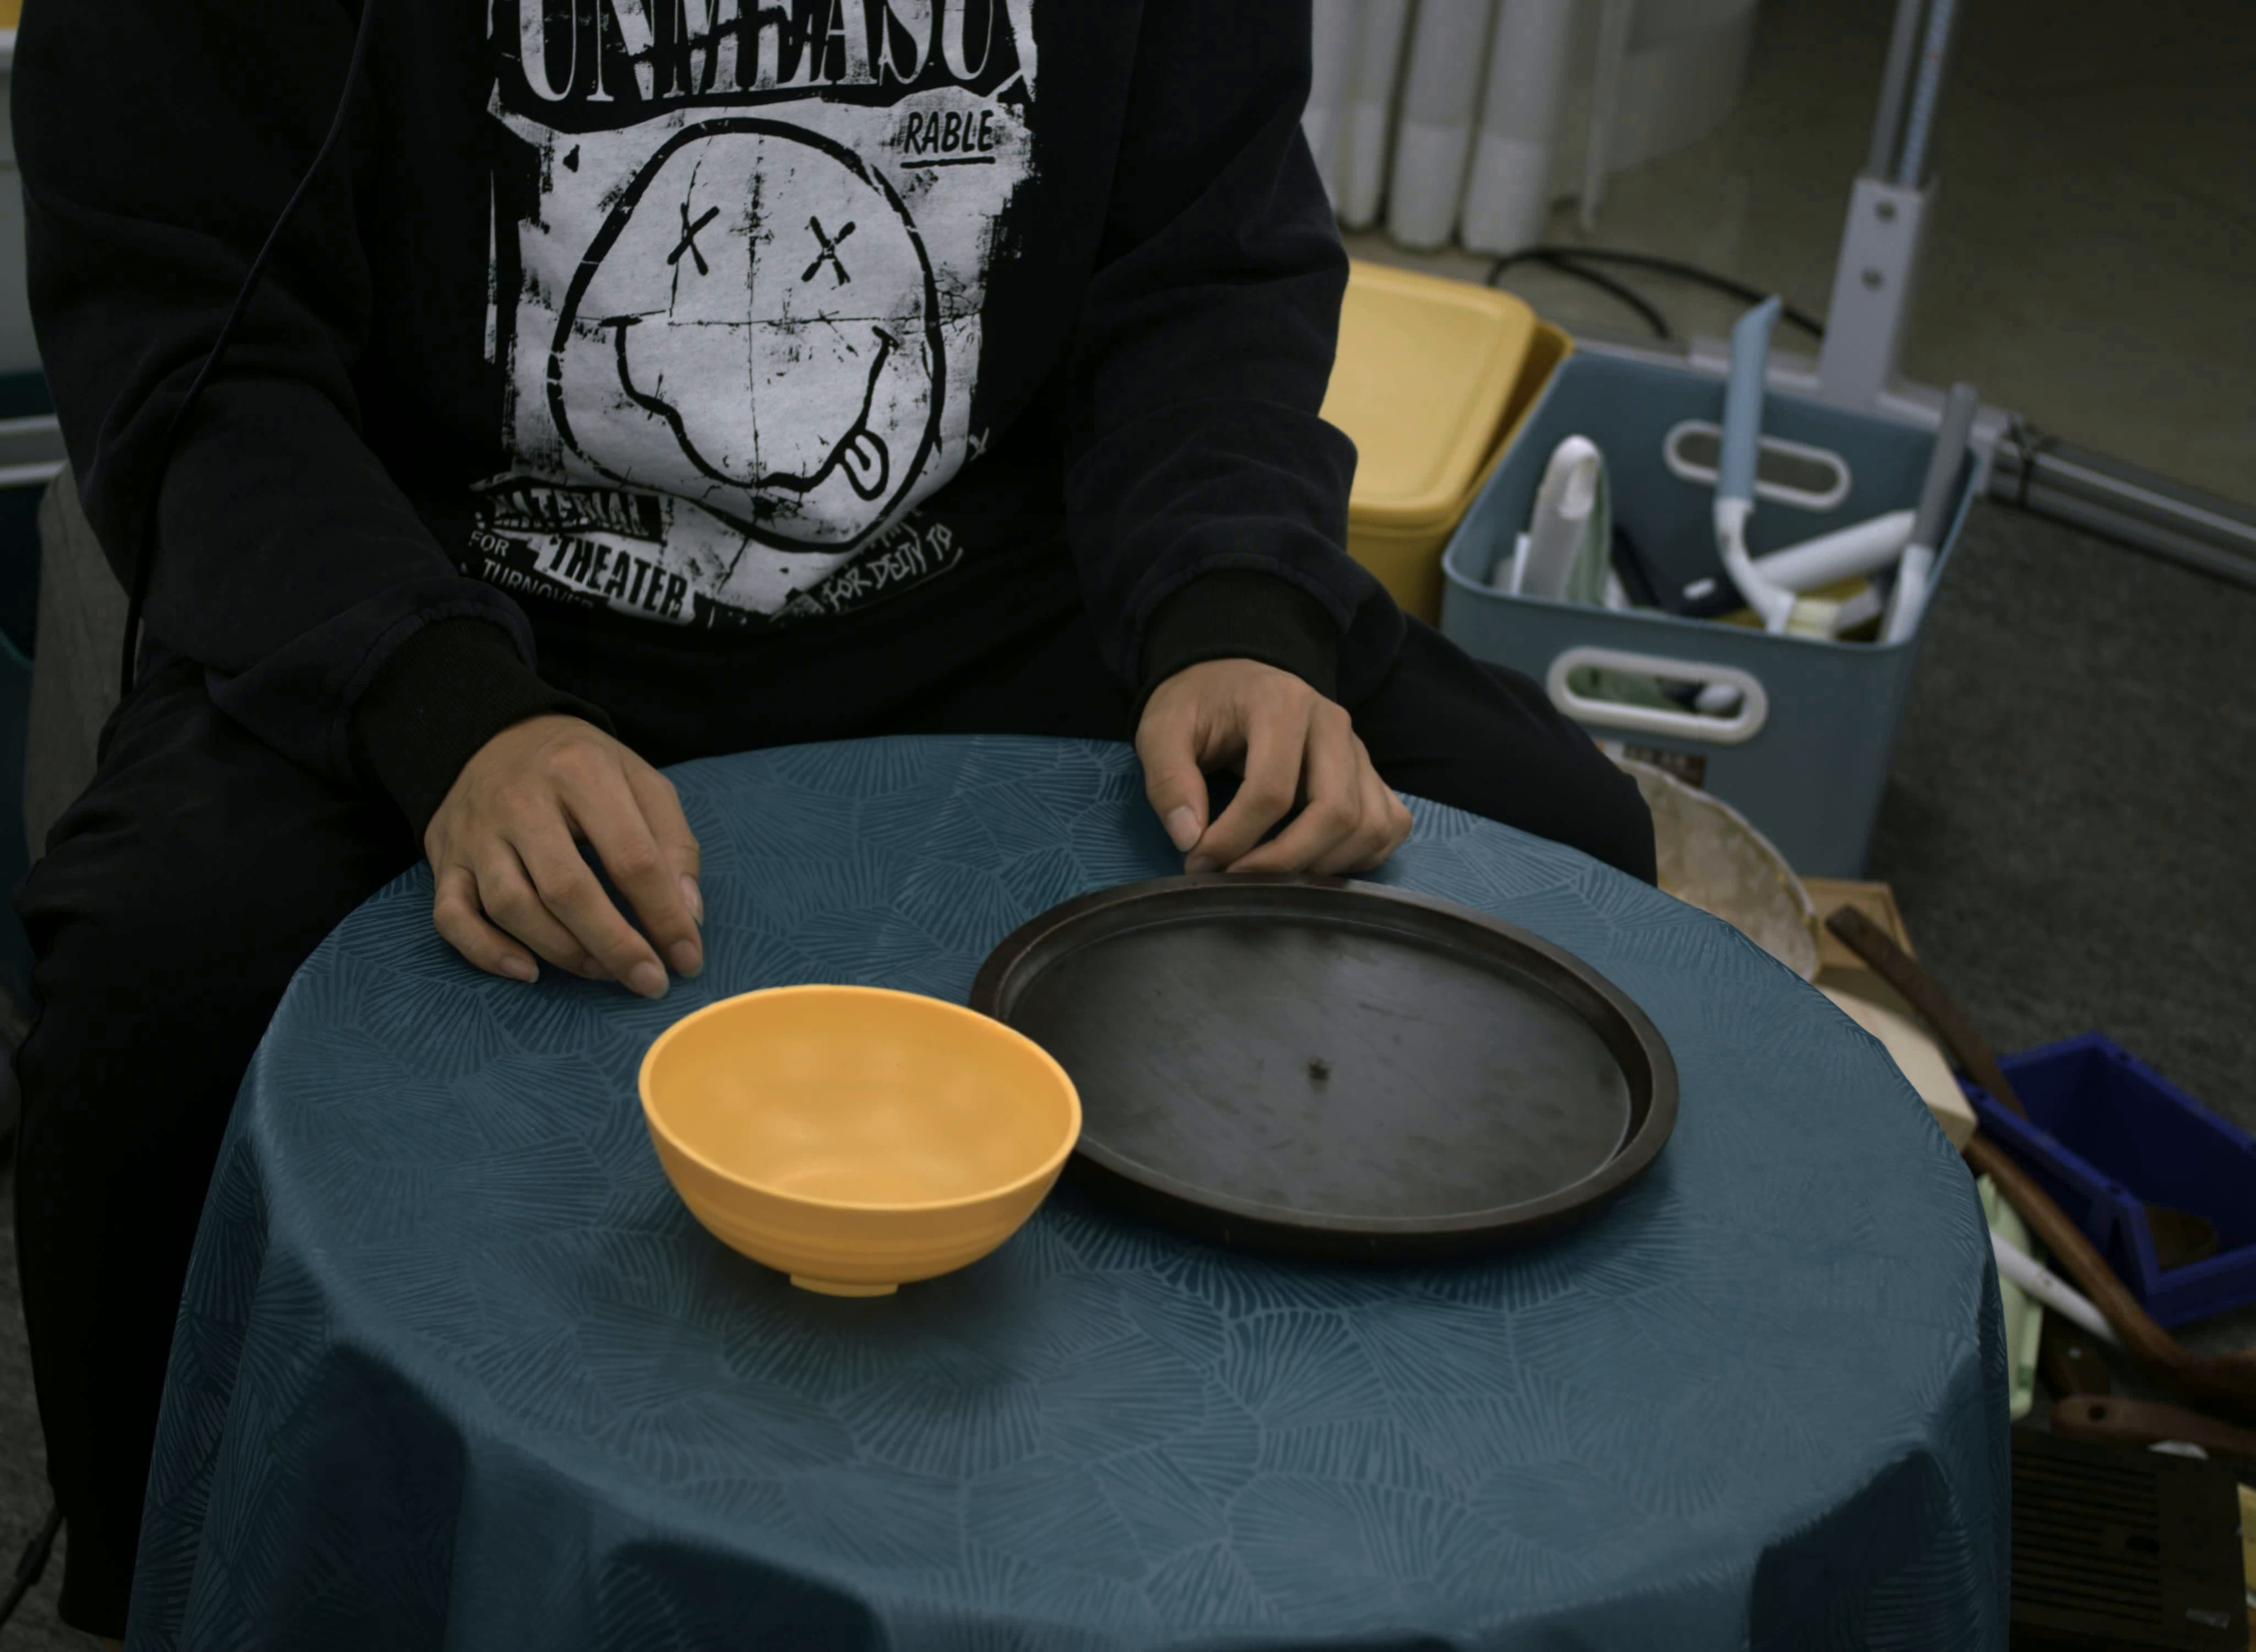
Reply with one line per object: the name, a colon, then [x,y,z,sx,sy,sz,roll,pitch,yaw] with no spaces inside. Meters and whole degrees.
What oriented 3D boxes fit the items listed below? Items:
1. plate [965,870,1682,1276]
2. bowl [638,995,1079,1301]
plate: [0.068,0.085,1.868,0.254,0.029,0.256,3,27,-2]
bowl: [-0.091,0.113,1.738,0.145,0.060,0.146,6,24,-3]
